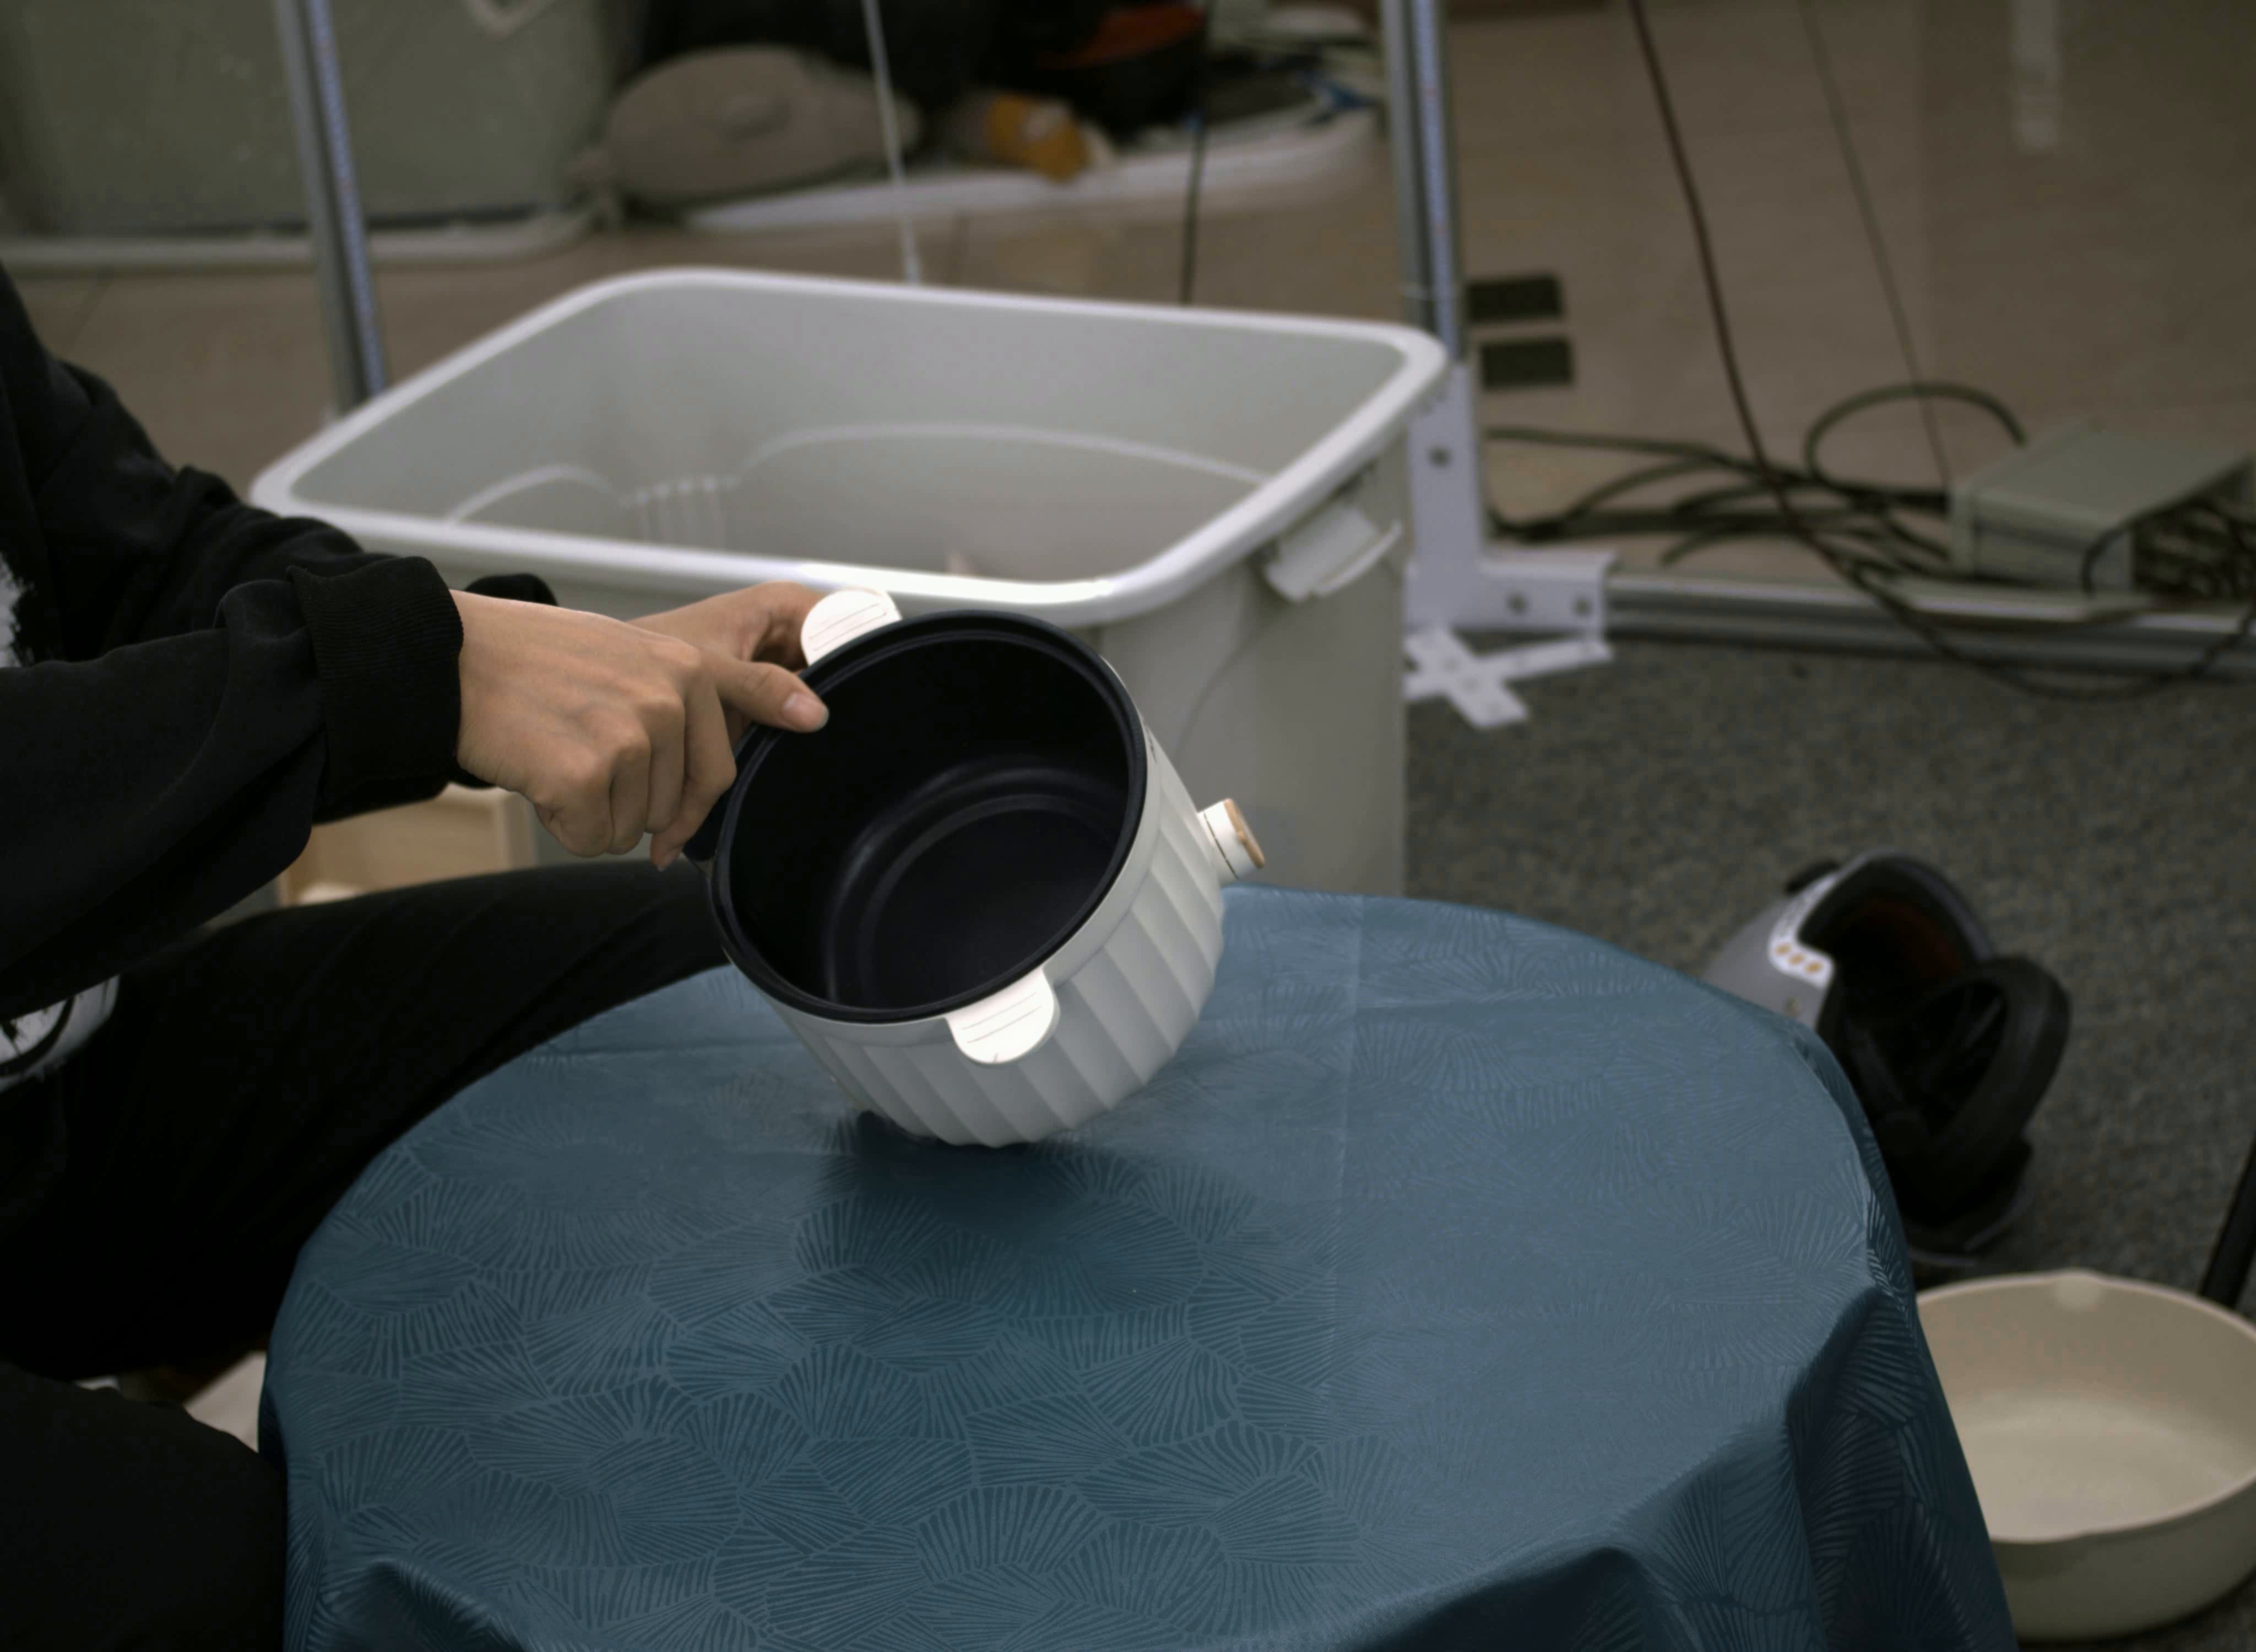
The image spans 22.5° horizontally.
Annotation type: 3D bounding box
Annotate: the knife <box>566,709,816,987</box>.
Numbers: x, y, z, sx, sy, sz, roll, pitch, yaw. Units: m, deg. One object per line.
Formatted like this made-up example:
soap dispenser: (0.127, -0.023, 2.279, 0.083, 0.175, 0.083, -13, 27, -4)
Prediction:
knife: (-0.157, 0.014, 2.114, 0.026, 0.229, 0.017, 31, 77, 32)

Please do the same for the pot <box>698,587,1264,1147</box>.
pot: (-0.052, 0.024, 2.182, 0.191, 0.144, 0.236, -29, 54, 8)
